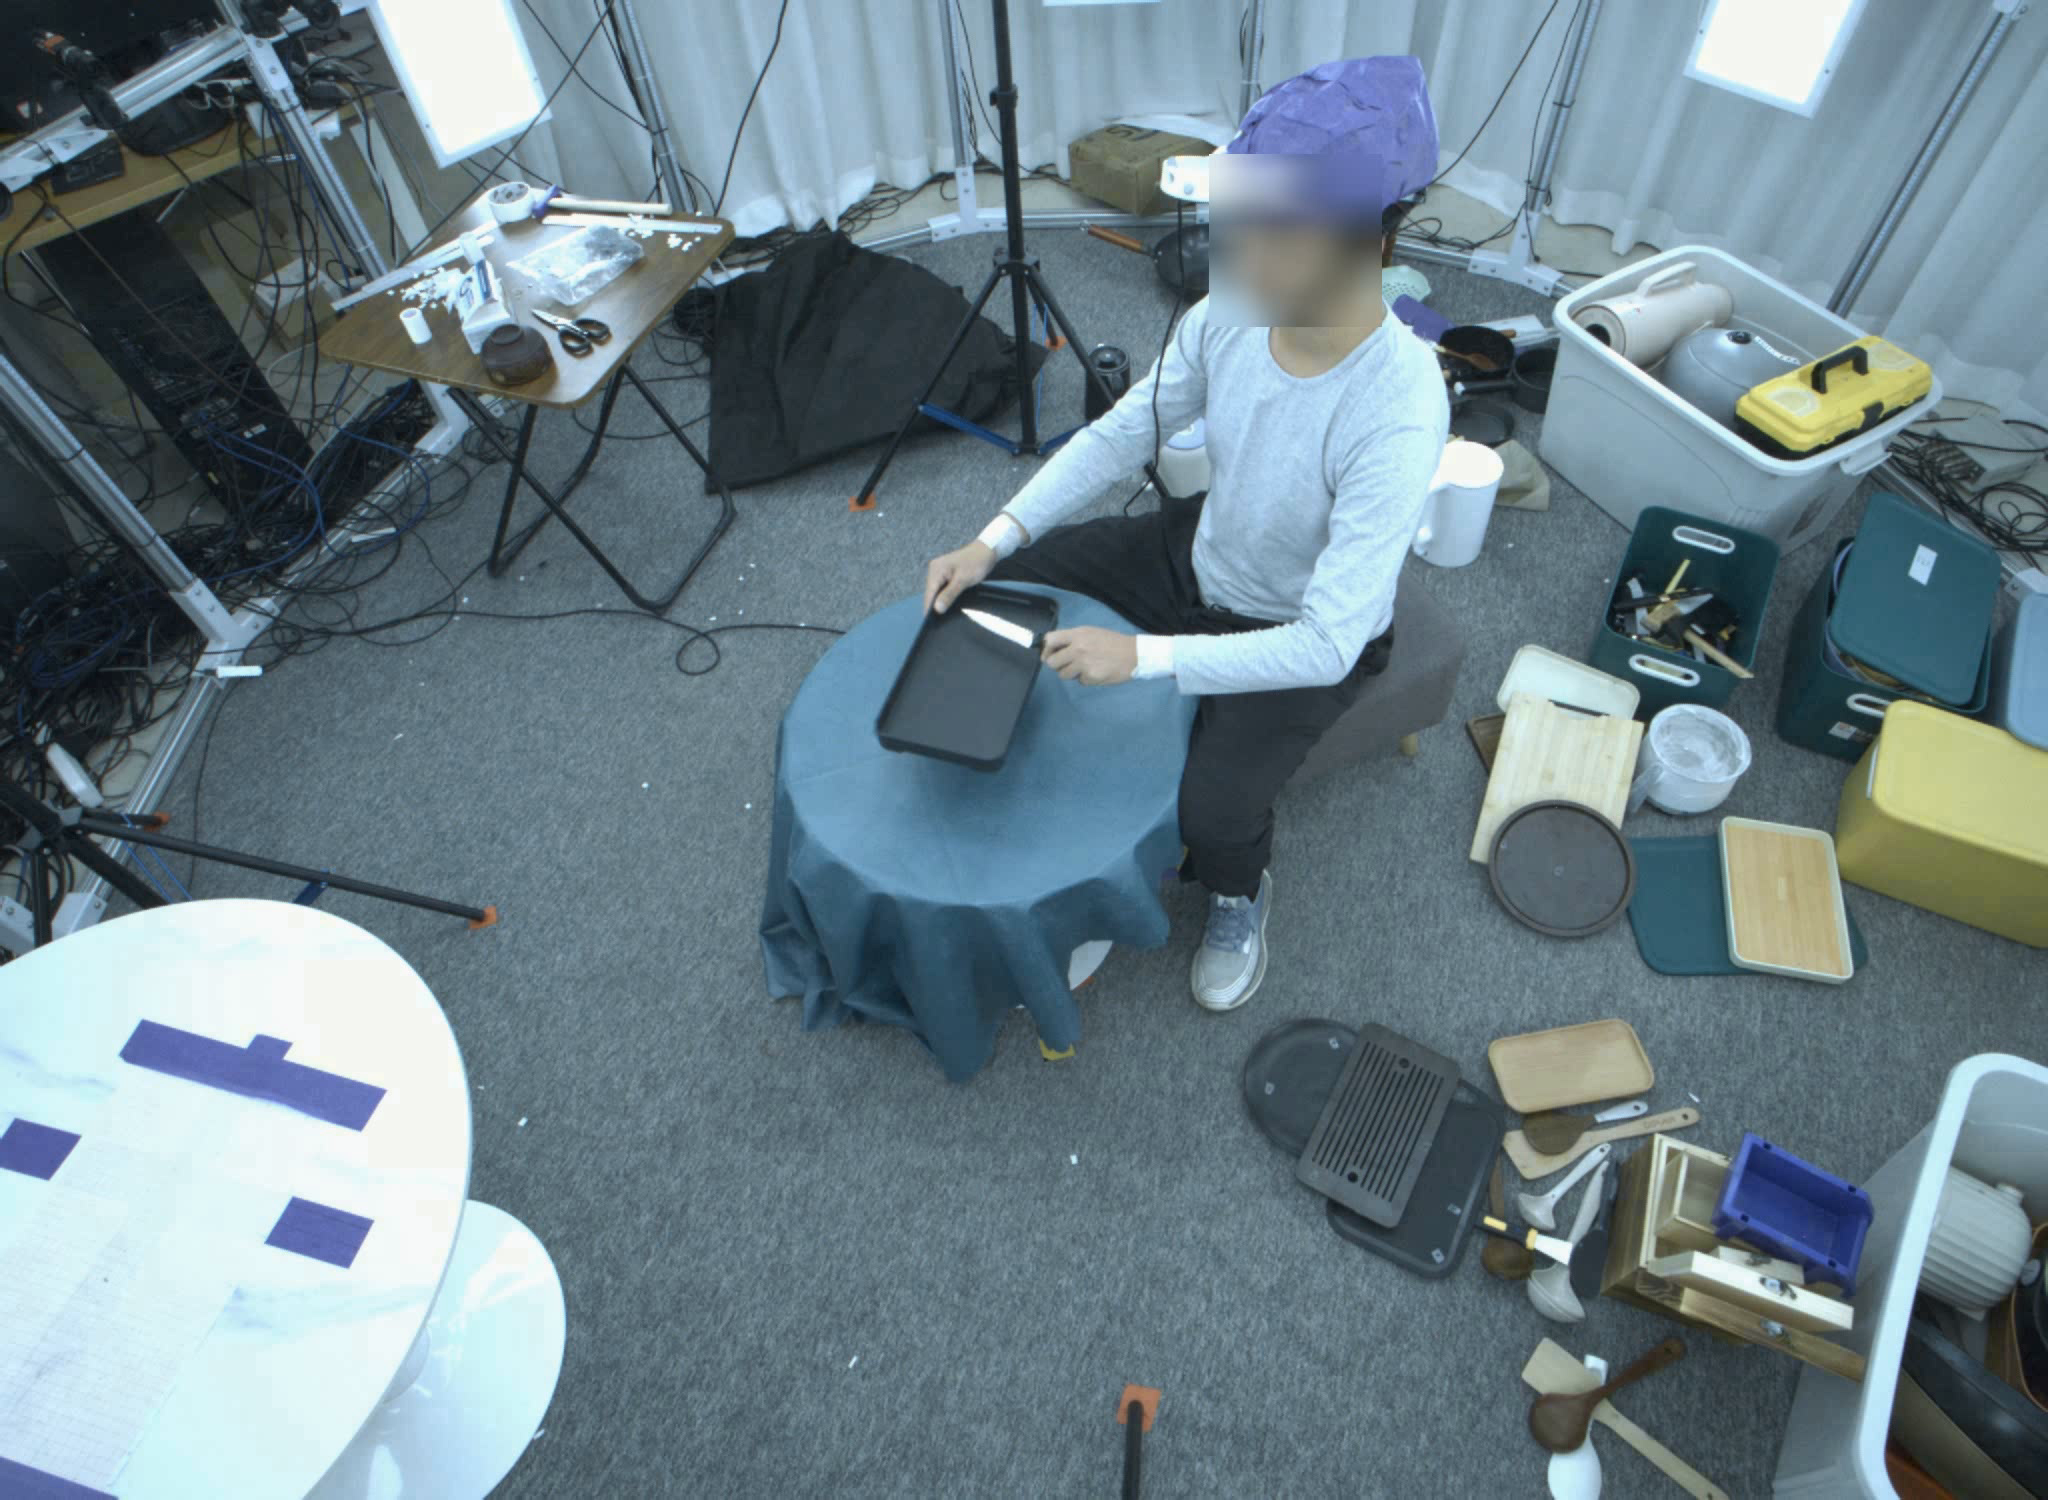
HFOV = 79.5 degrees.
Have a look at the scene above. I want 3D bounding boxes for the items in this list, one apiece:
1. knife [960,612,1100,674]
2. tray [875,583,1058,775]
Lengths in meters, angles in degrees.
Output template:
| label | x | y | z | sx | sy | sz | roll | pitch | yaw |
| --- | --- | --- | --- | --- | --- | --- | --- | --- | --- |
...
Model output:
| label | x | y | z | sx | sy | sz | roll | pitch | yaw |
| --- | --- | --- | --- | --- | --- | --- | --- | --- | --- |
| knife | 0.007 | -0.158 | 1.737 | 0.234 | 0.016 | 0.024 | 24 | 77 | 22 |
| tray | -0.076 | -0.107 | 1.724 | 0.183 | 0.037 | 0.317 | 13 | 51 | 8 |
